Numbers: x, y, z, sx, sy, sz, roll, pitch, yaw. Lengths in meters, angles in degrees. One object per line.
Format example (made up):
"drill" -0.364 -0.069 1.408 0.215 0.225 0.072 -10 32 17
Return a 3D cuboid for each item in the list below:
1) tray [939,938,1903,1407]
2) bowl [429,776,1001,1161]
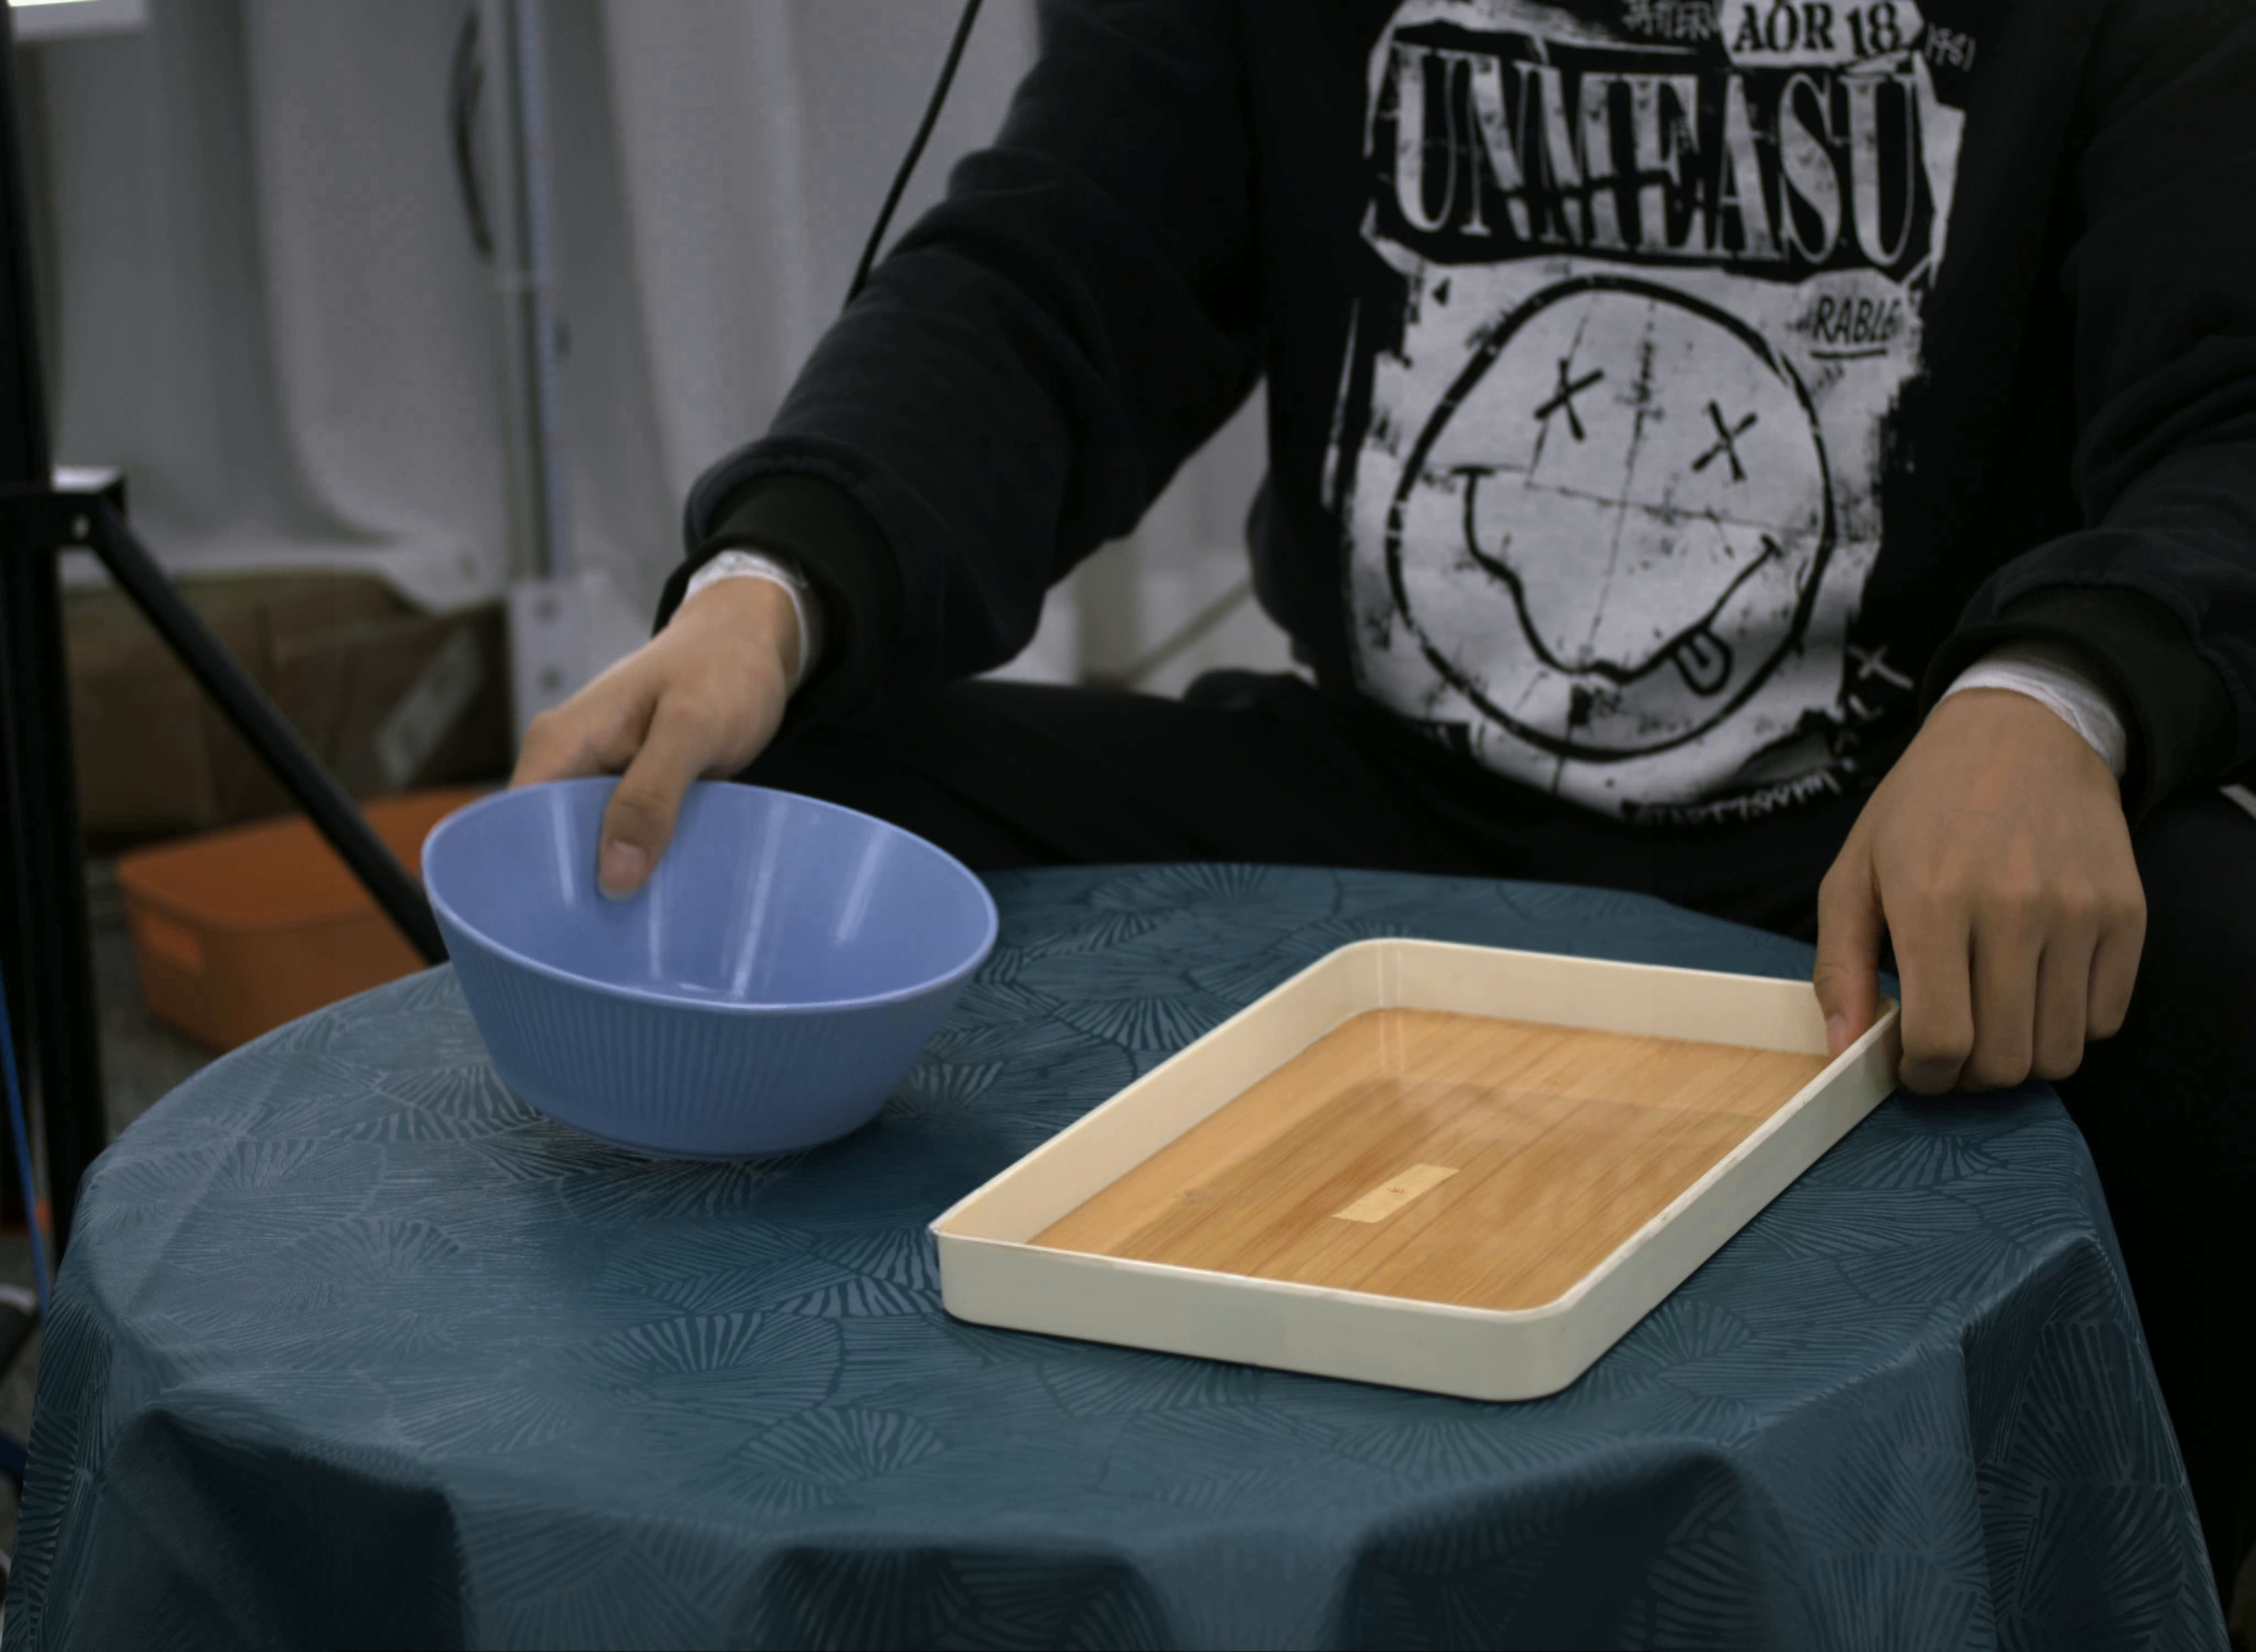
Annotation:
"tray" 0.093 0.095 1.541 0.195 0.027 0.295 6 18 27
"bowl" -0.128 0.048 1.629 0.175 0.070 0.177 5 22 -3
